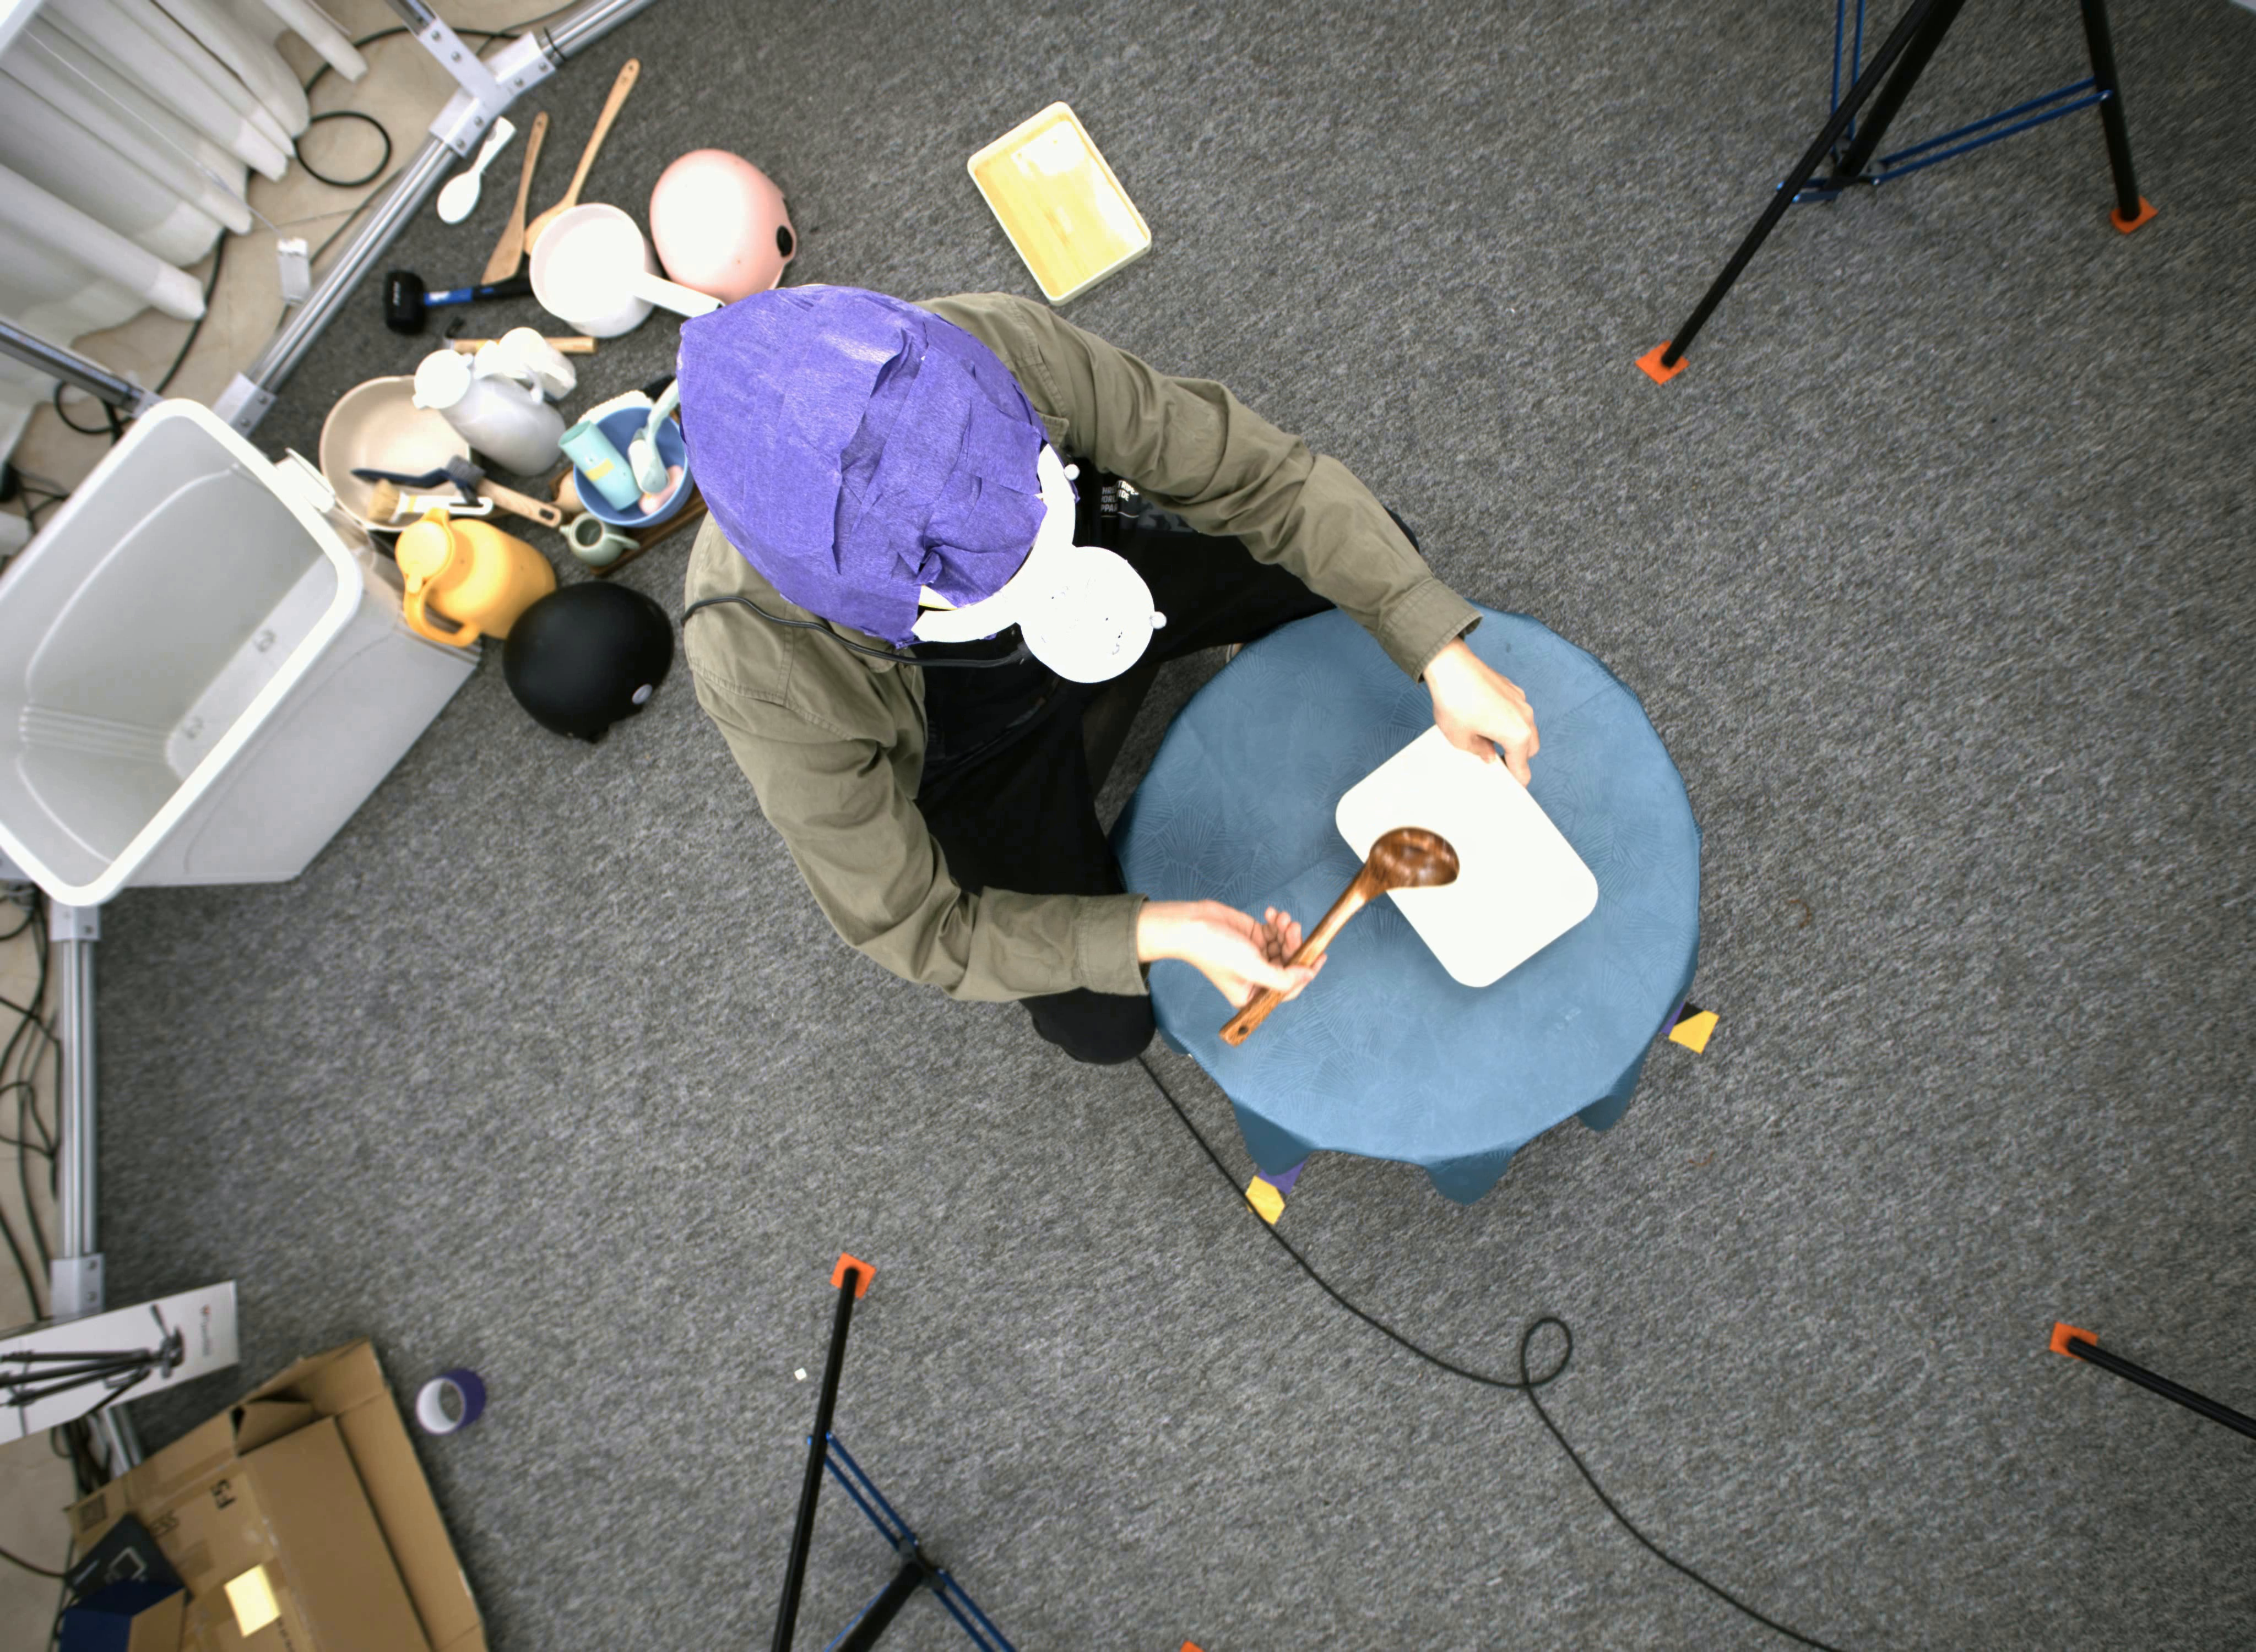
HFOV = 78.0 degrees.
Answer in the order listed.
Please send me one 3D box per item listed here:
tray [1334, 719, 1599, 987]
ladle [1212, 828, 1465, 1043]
[{"bbox_3d":[0.331,0.025,1.353,0.173,0.017,0.239,-38,90,17],"label":"tray"},{"bbox_3d":[0.184,0.108,1.222,0.082,0.075,0.276,38,101,-24],"label":"ladle"}]
